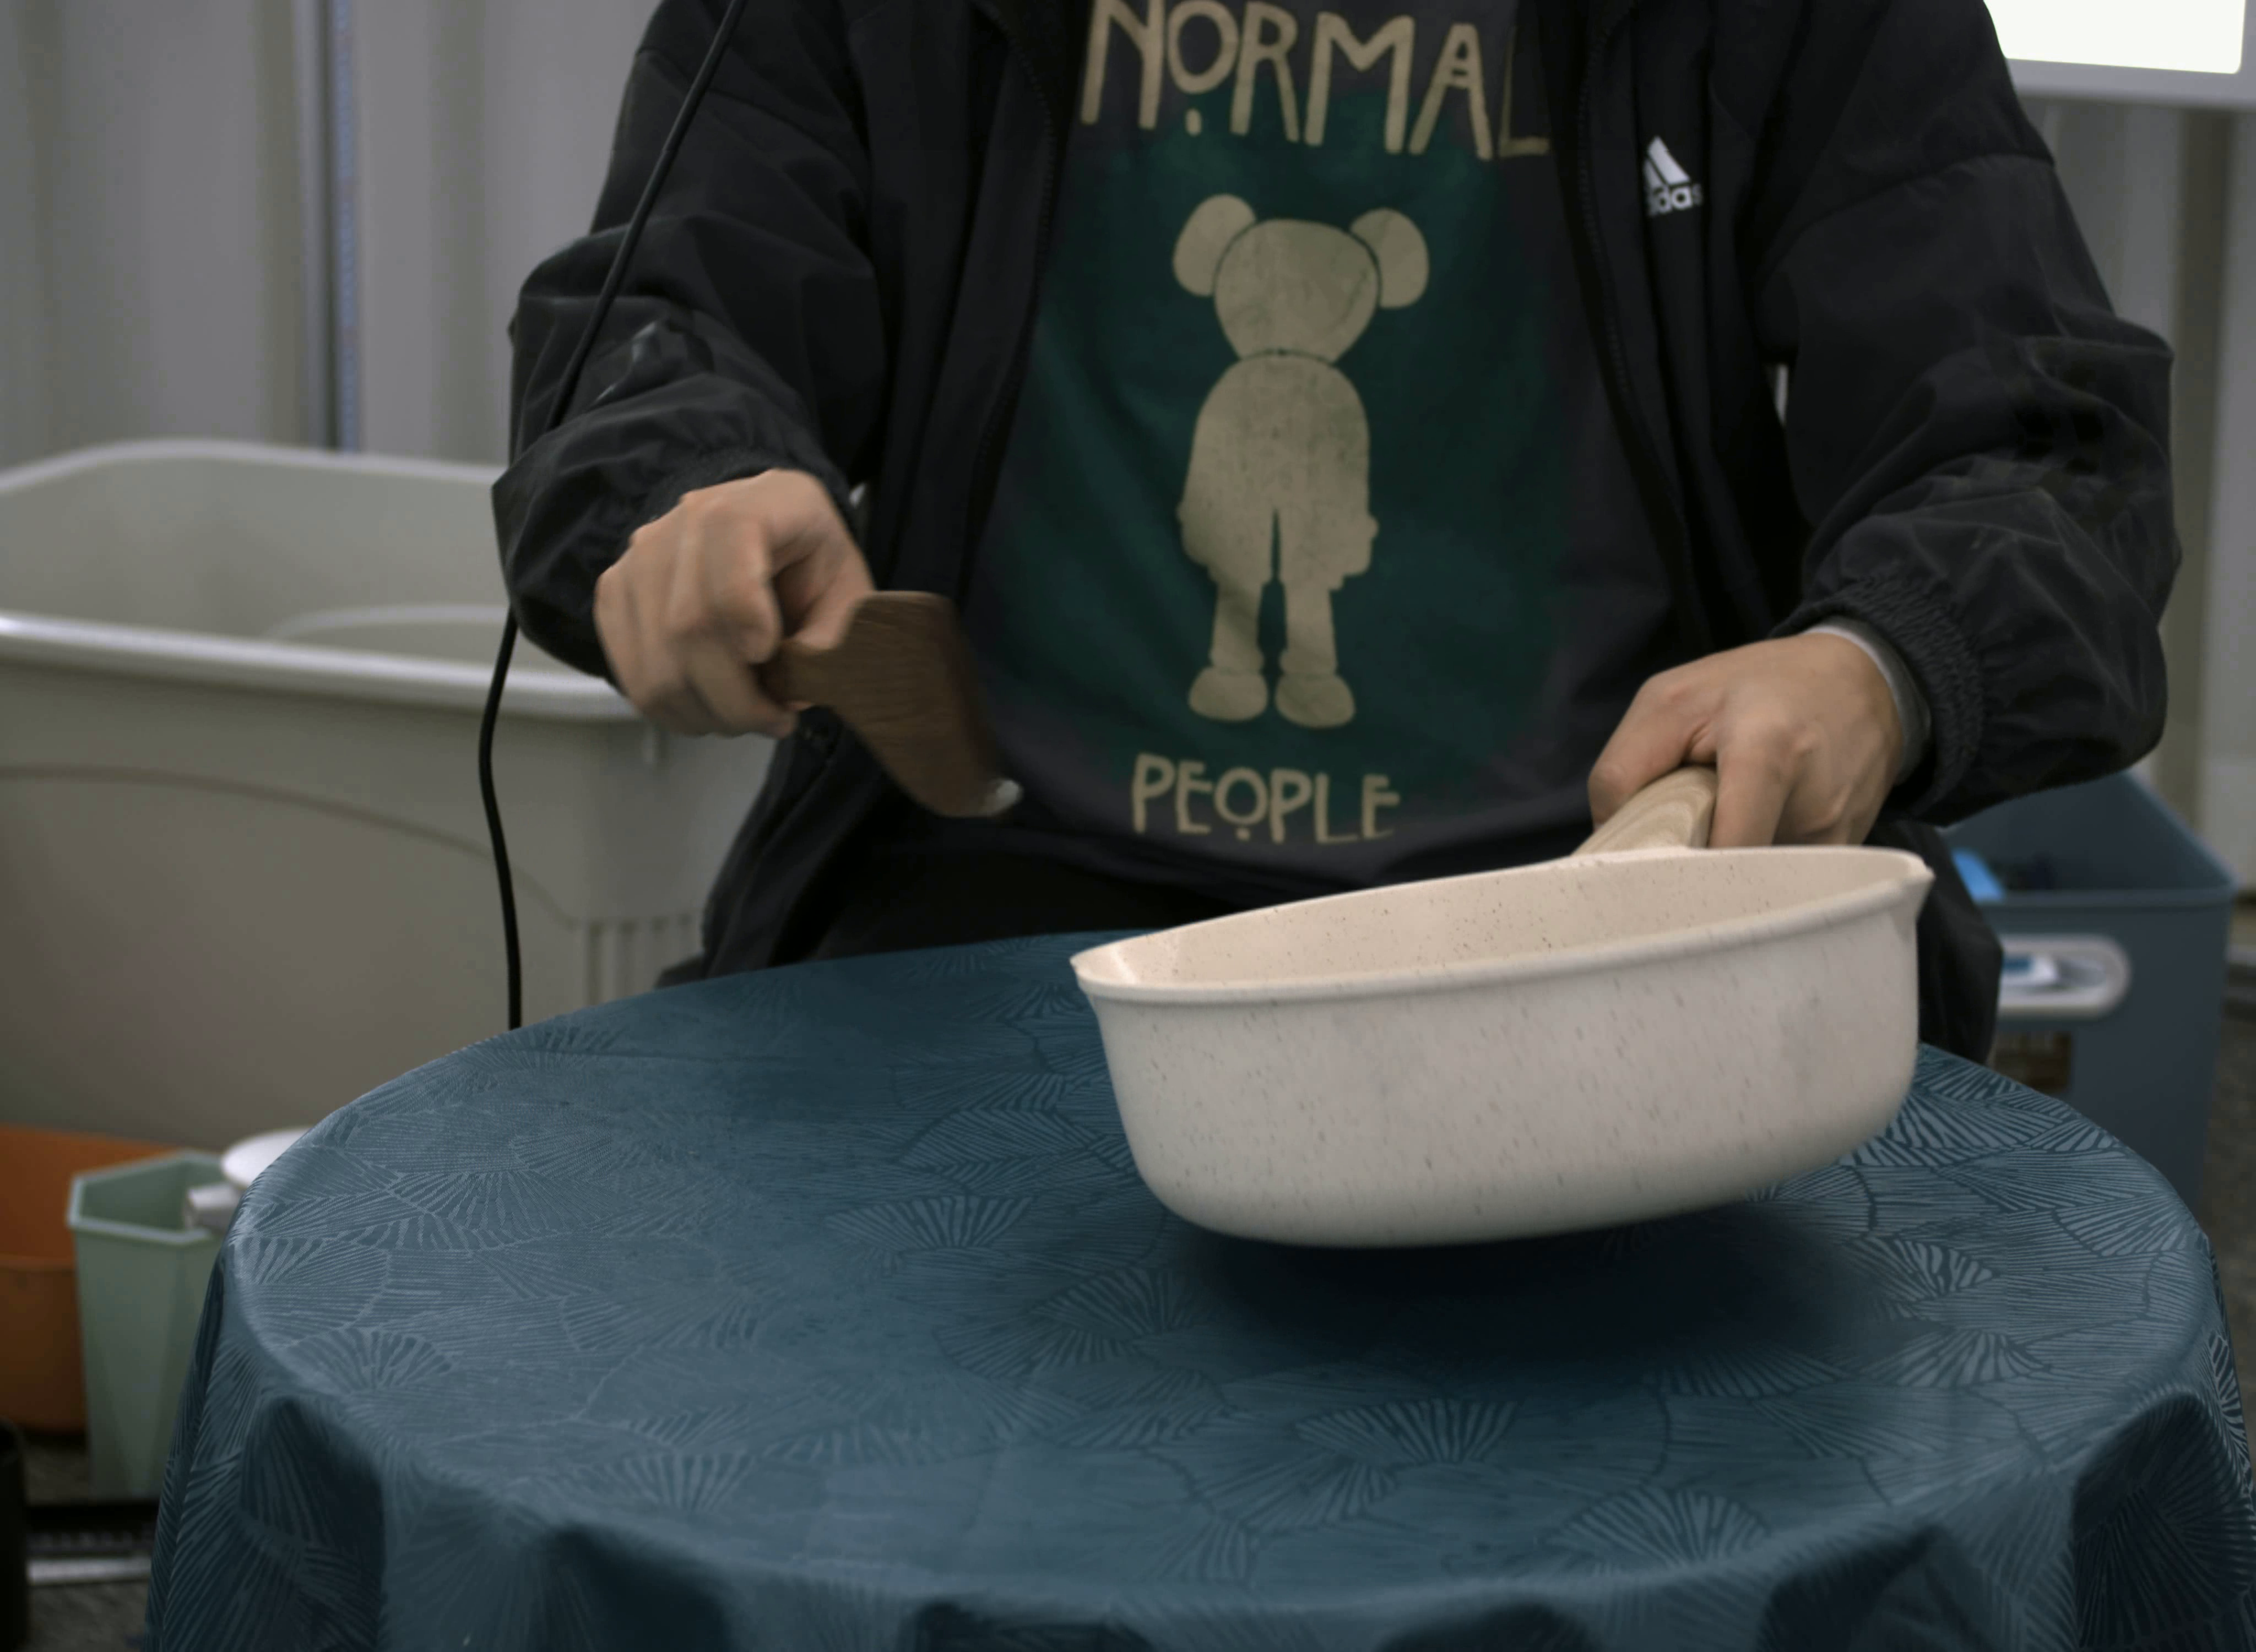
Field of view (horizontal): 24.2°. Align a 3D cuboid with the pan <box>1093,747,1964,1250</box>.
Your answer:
[{"bbox_3d":[0.150,0.048,1.633,0.261,0.102,0.436,-7,5,20],"label":"pan"}]

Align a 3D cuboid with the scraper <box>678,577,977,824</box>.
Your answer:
[{"bbox_3d":[-0.099,-0.045,1.621,0.011,0.076,0.209,-22,15,-21],"label":"scraper"}]
